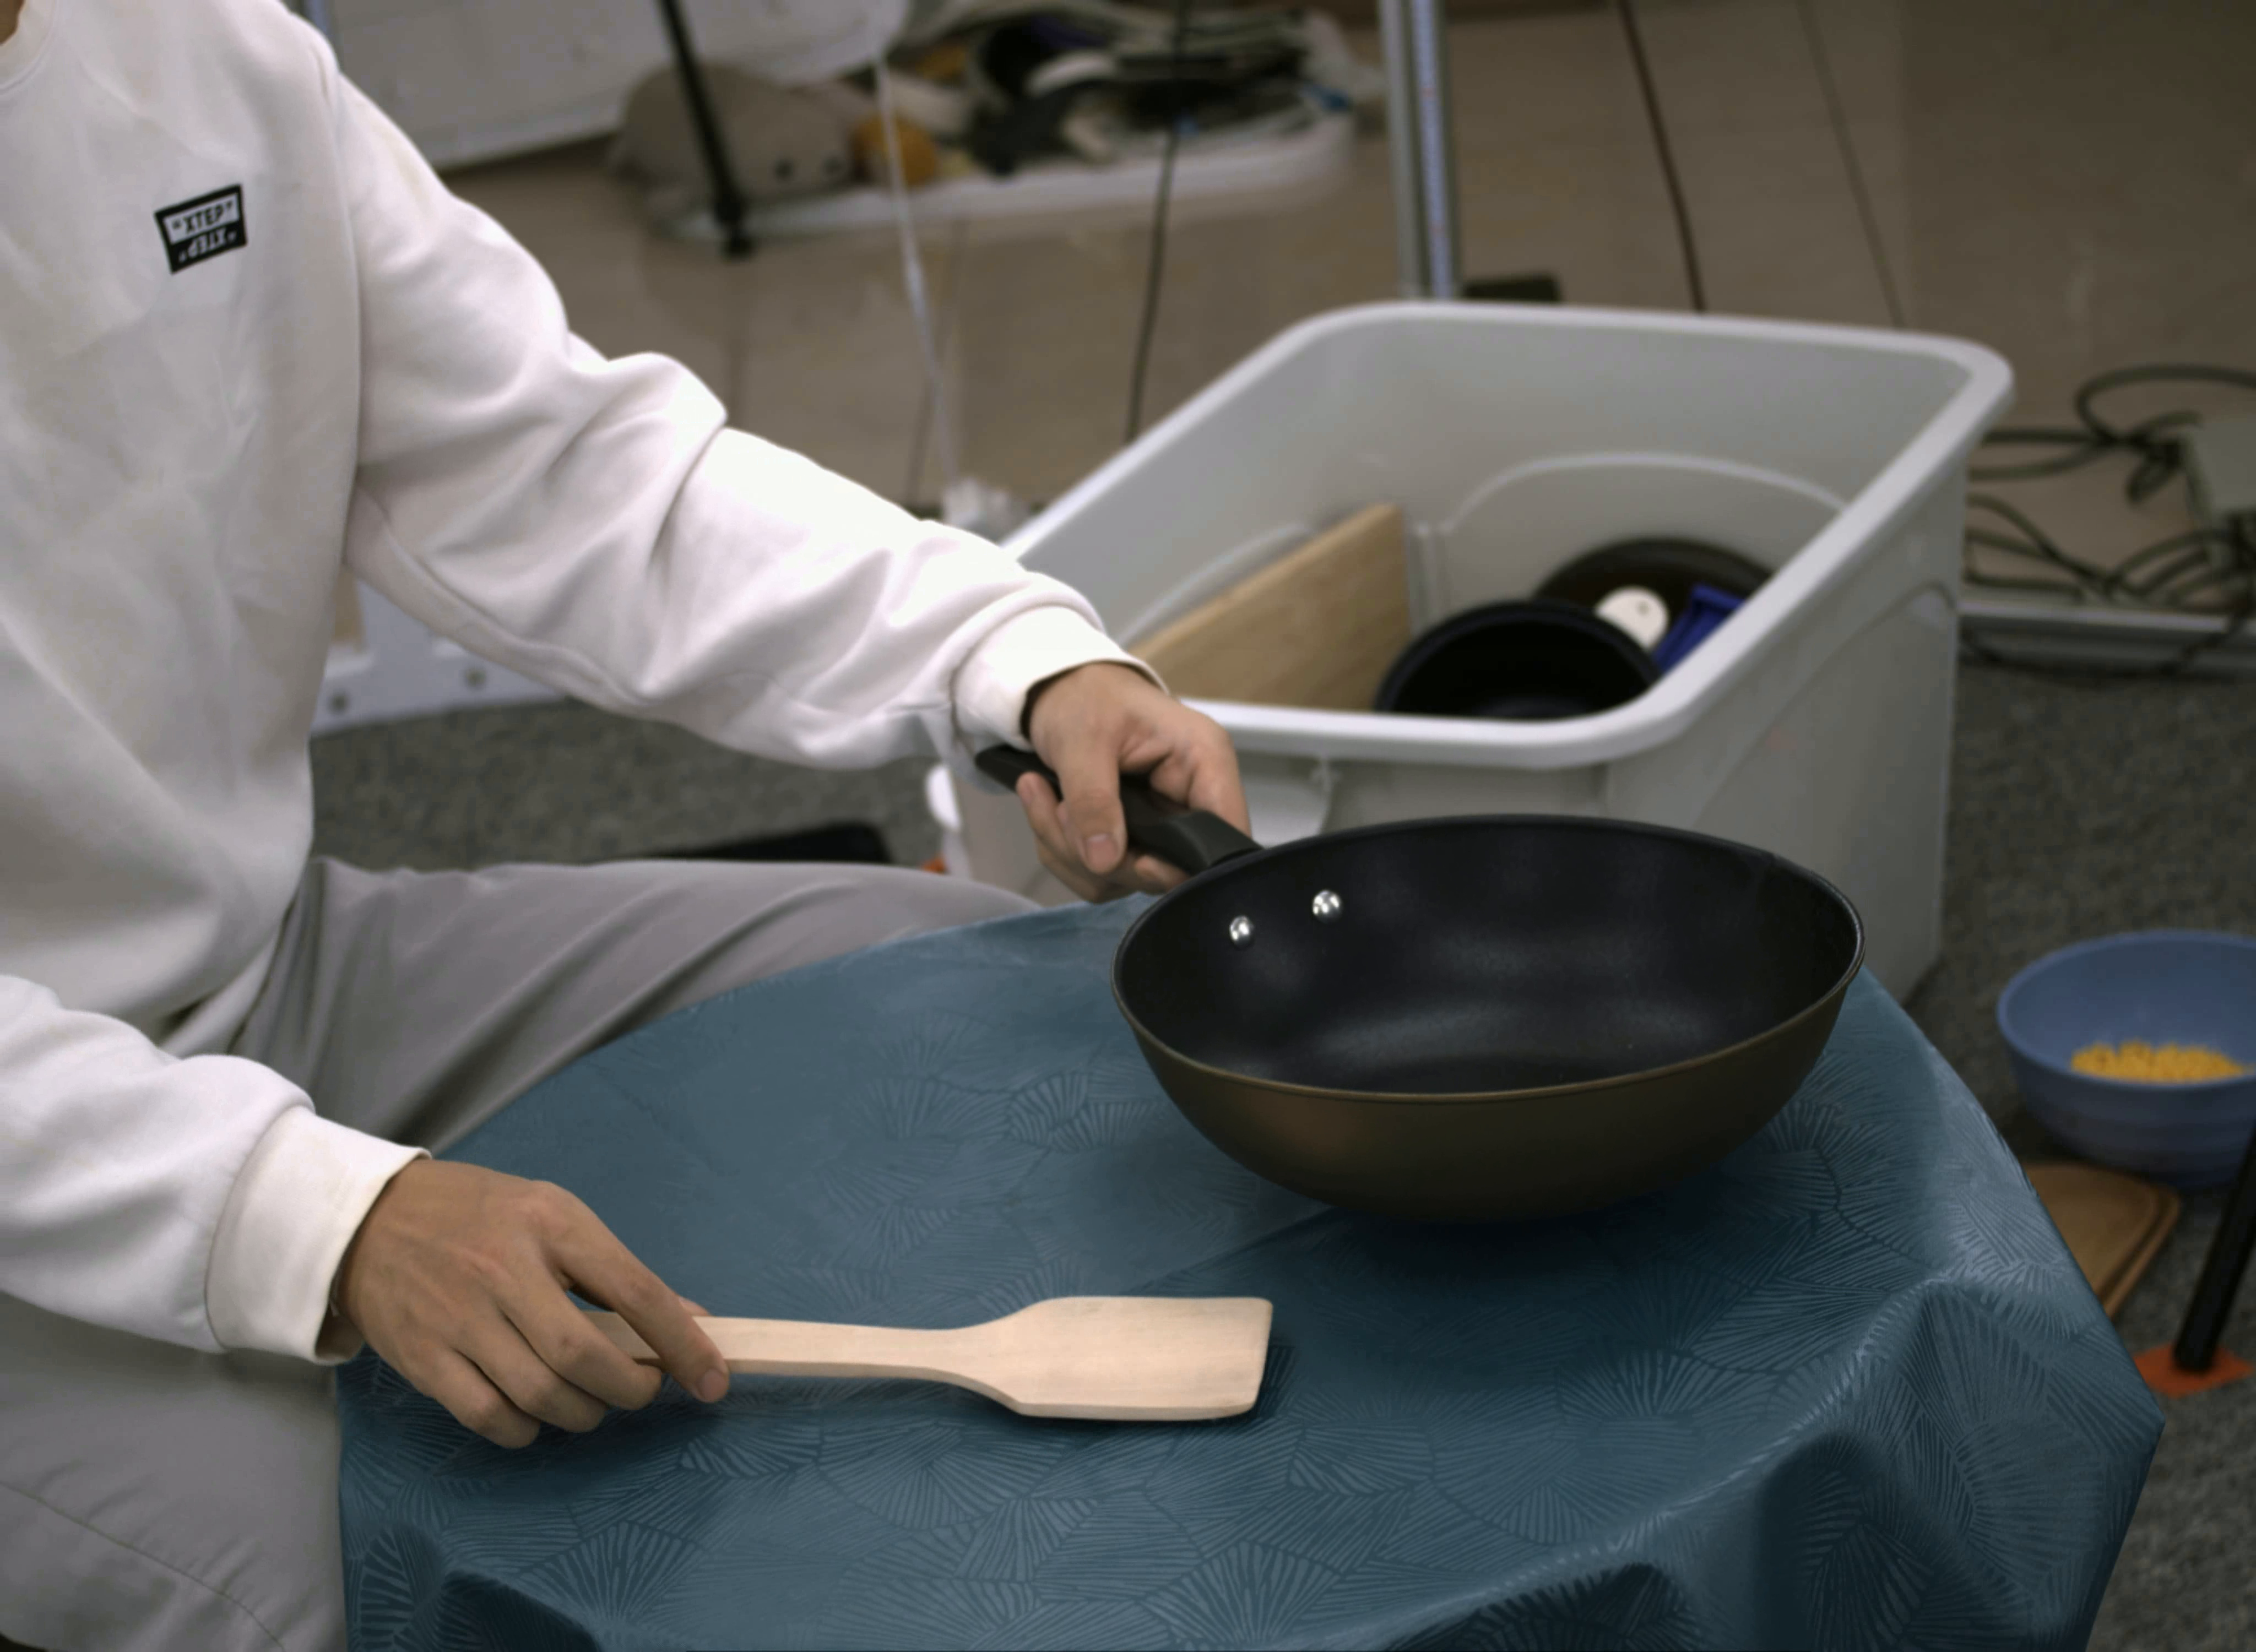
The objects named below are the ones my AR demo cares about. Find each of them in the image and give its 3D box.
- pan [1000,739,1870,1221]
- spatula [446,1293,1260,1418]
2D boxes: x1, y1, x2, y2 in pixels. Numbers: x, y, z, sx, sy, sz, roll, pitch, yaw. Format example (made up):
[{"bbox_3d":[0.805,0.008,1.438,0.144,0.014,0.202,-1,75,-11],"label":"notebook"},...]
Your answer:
[{"bbox_3d":[0.083,0.057,2.184,0.286,0.088,0.459,-17,24,-32],"label":"pan"},{"bbox_3d":[-0.100,0.186,2.026,0.292,0.011,0.071,1,30,7],"label":"spatula"}]
